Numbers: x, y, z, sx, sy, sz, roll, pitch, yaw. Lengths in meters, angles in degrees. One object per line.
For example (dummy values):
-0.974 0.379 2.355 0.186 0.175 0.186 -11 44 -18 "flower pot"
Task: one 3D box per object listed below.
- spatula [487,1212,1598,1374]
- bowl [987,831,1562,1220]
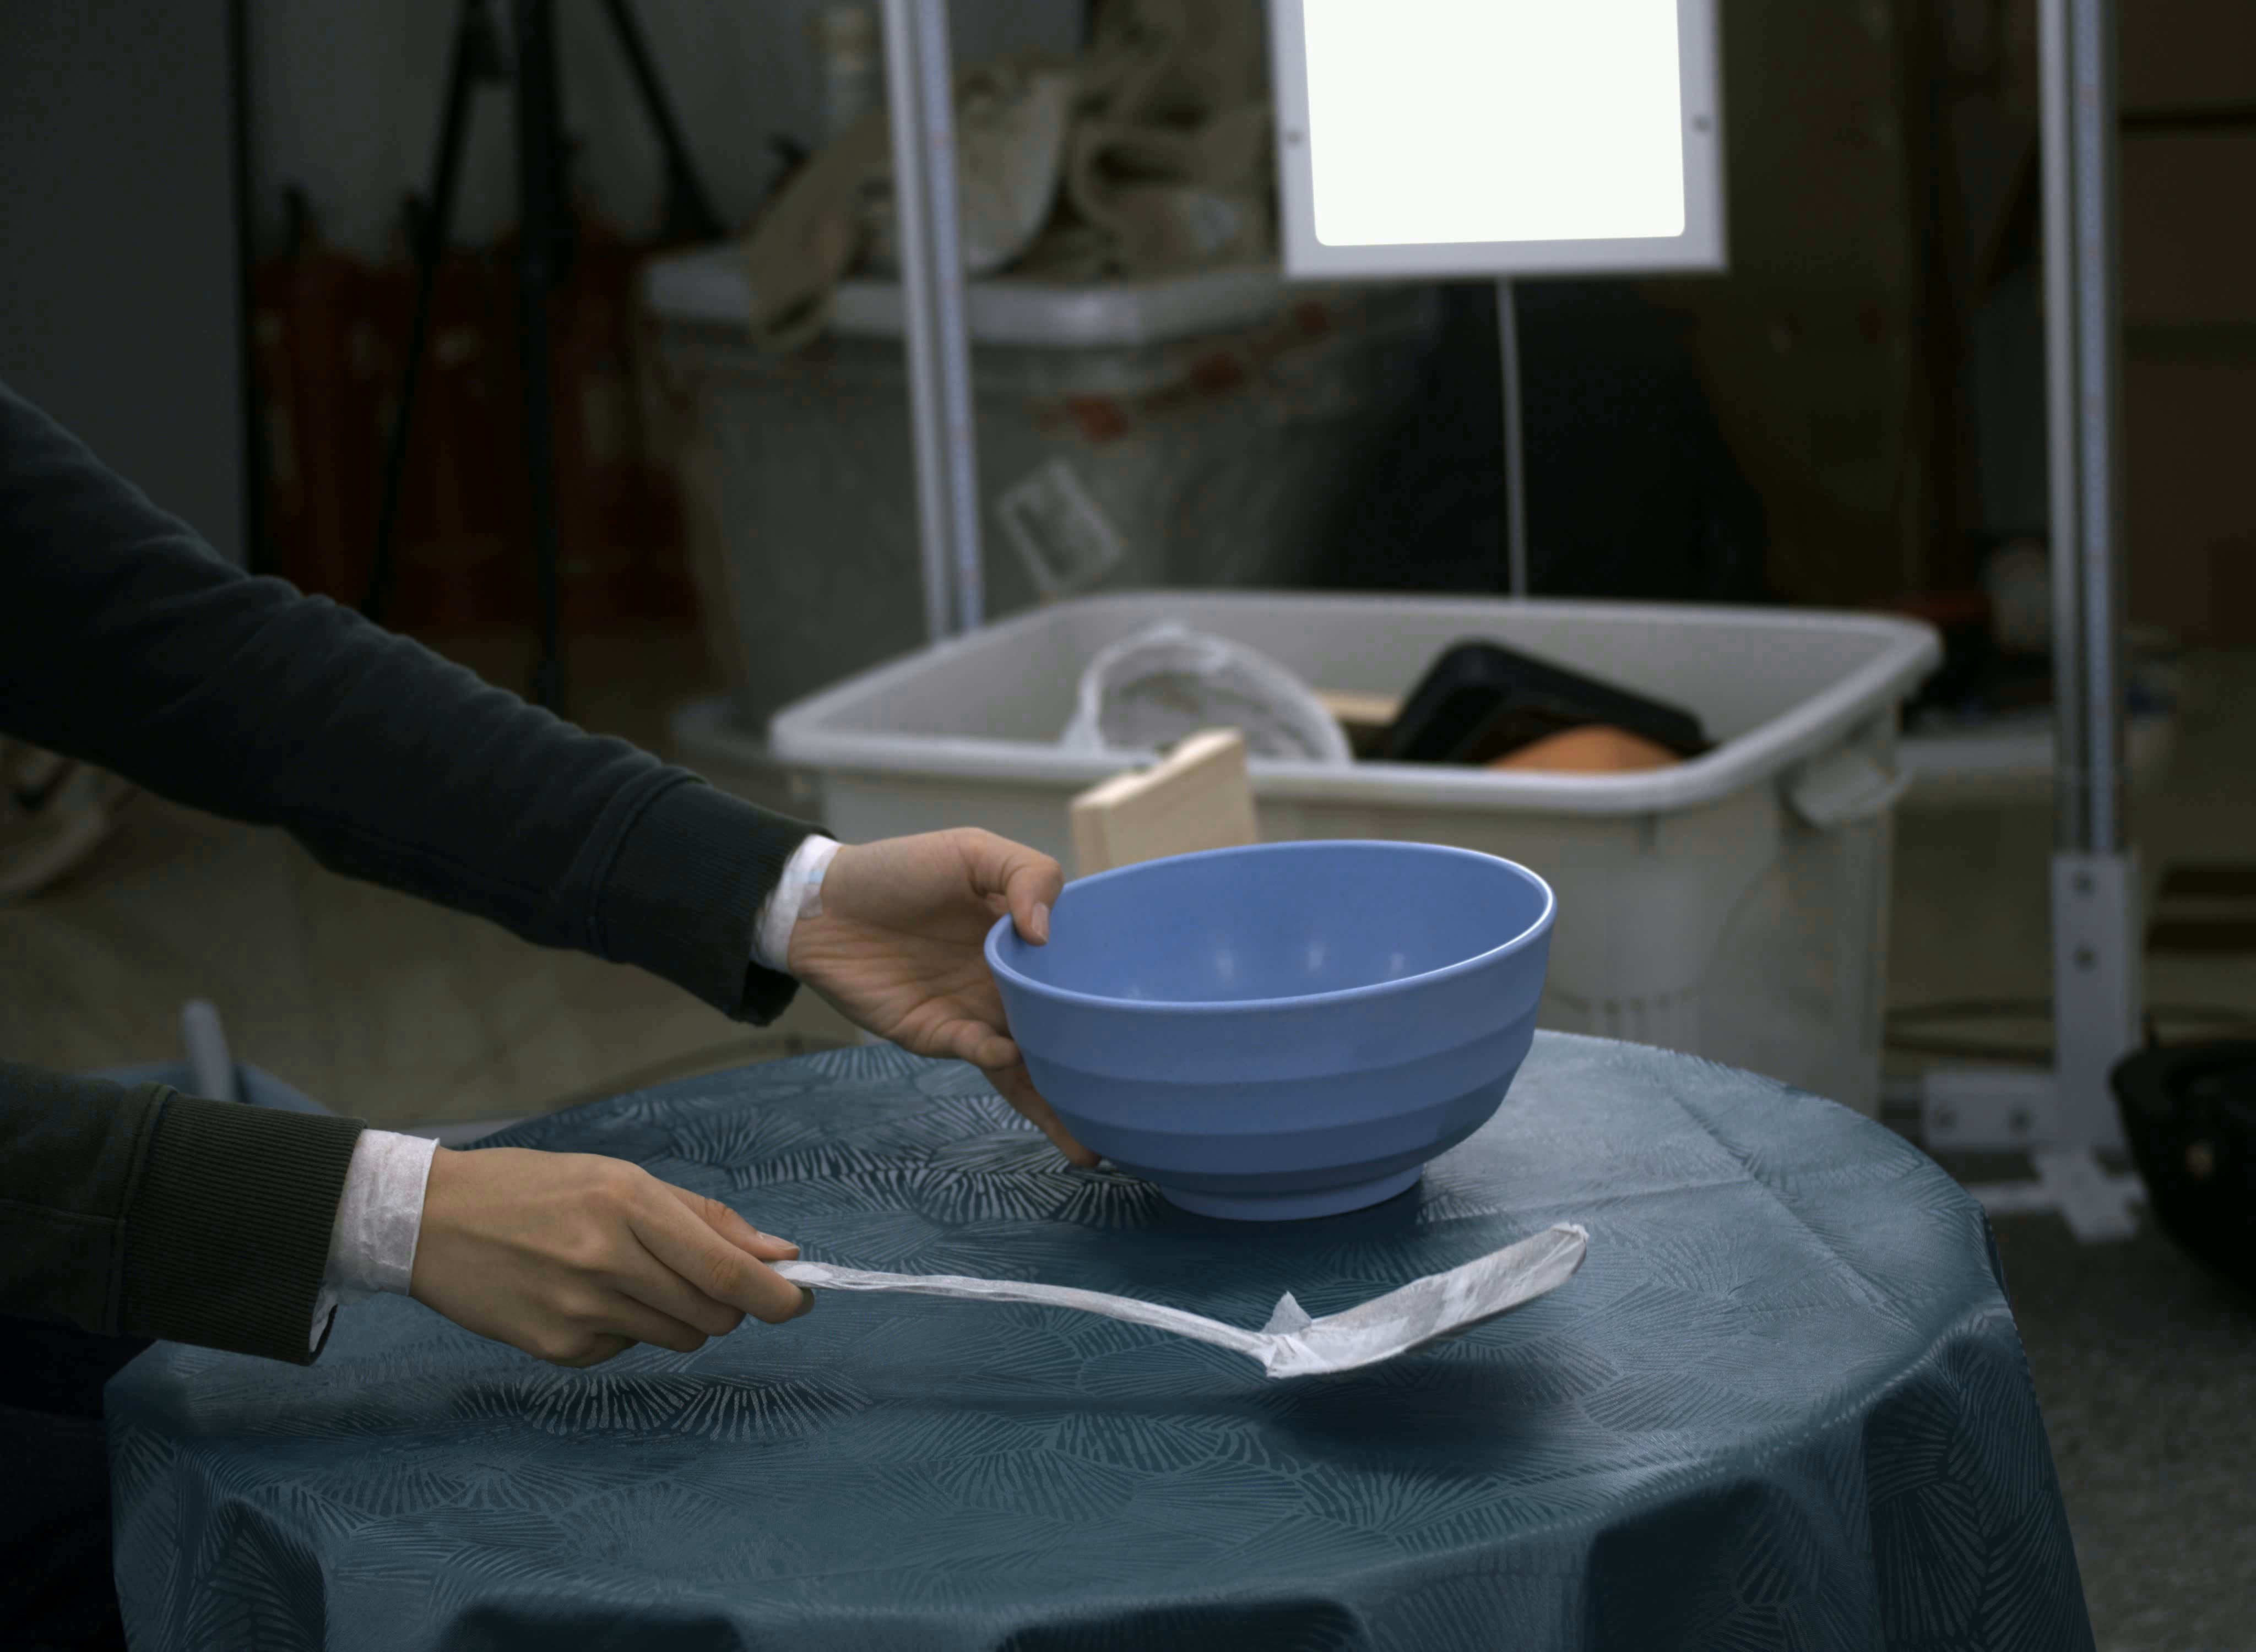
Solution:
-0.036 0.138 1.704 0.369 0.045 0.097 3 14 19 "spatula"
0.053 0.075 1.882 0.196 0.096 0.196 -5 16 0 "bowl"
